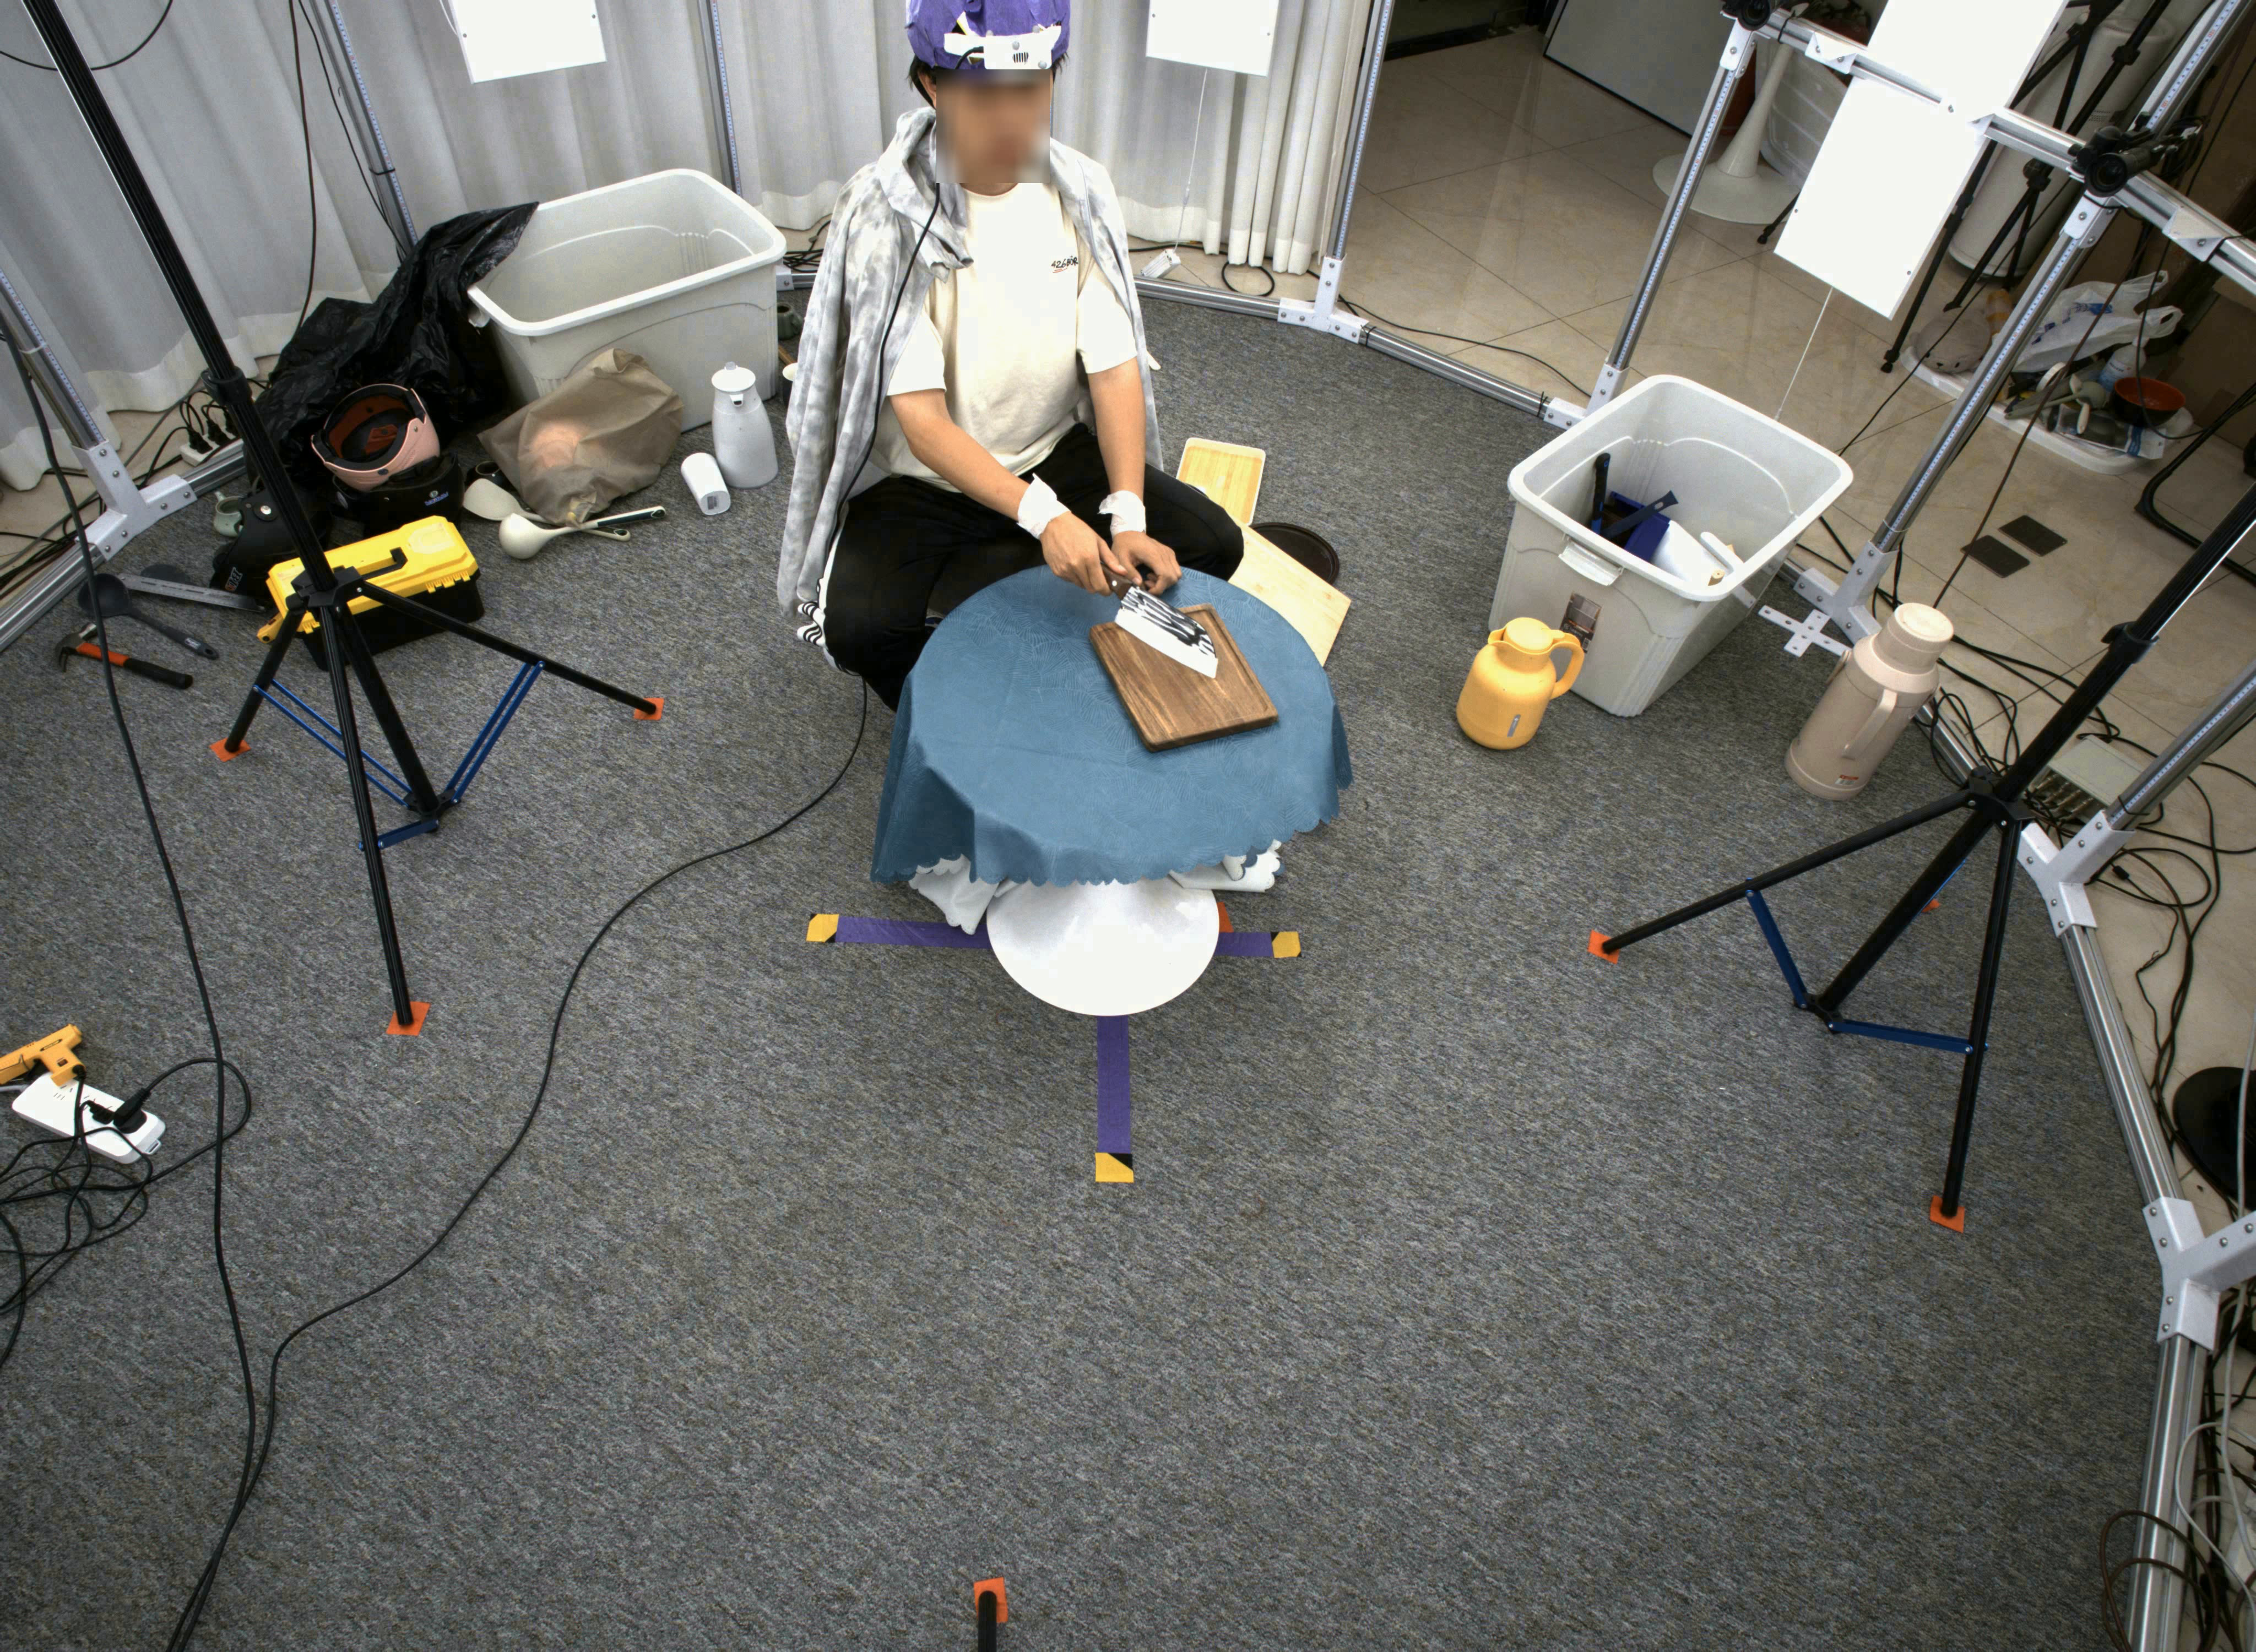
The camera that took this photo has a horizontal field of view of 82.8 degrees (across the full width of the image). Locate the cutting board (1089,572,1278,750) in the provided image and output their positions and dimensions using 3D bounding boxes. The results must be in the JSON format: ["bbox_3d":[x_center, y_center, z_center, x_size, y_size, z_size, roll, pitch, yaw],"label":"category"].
[{"bbox_3d":[0.060,-0.257,1.876,0.201,0.022,0.360,-14,50,-15],"label":"cutting board"}]

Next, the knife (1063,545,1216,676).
[{"bbox_3d":[0.014,-0.315,1.870,0.303,0.067,0.024,35,25,19],"label":"knife"}]
